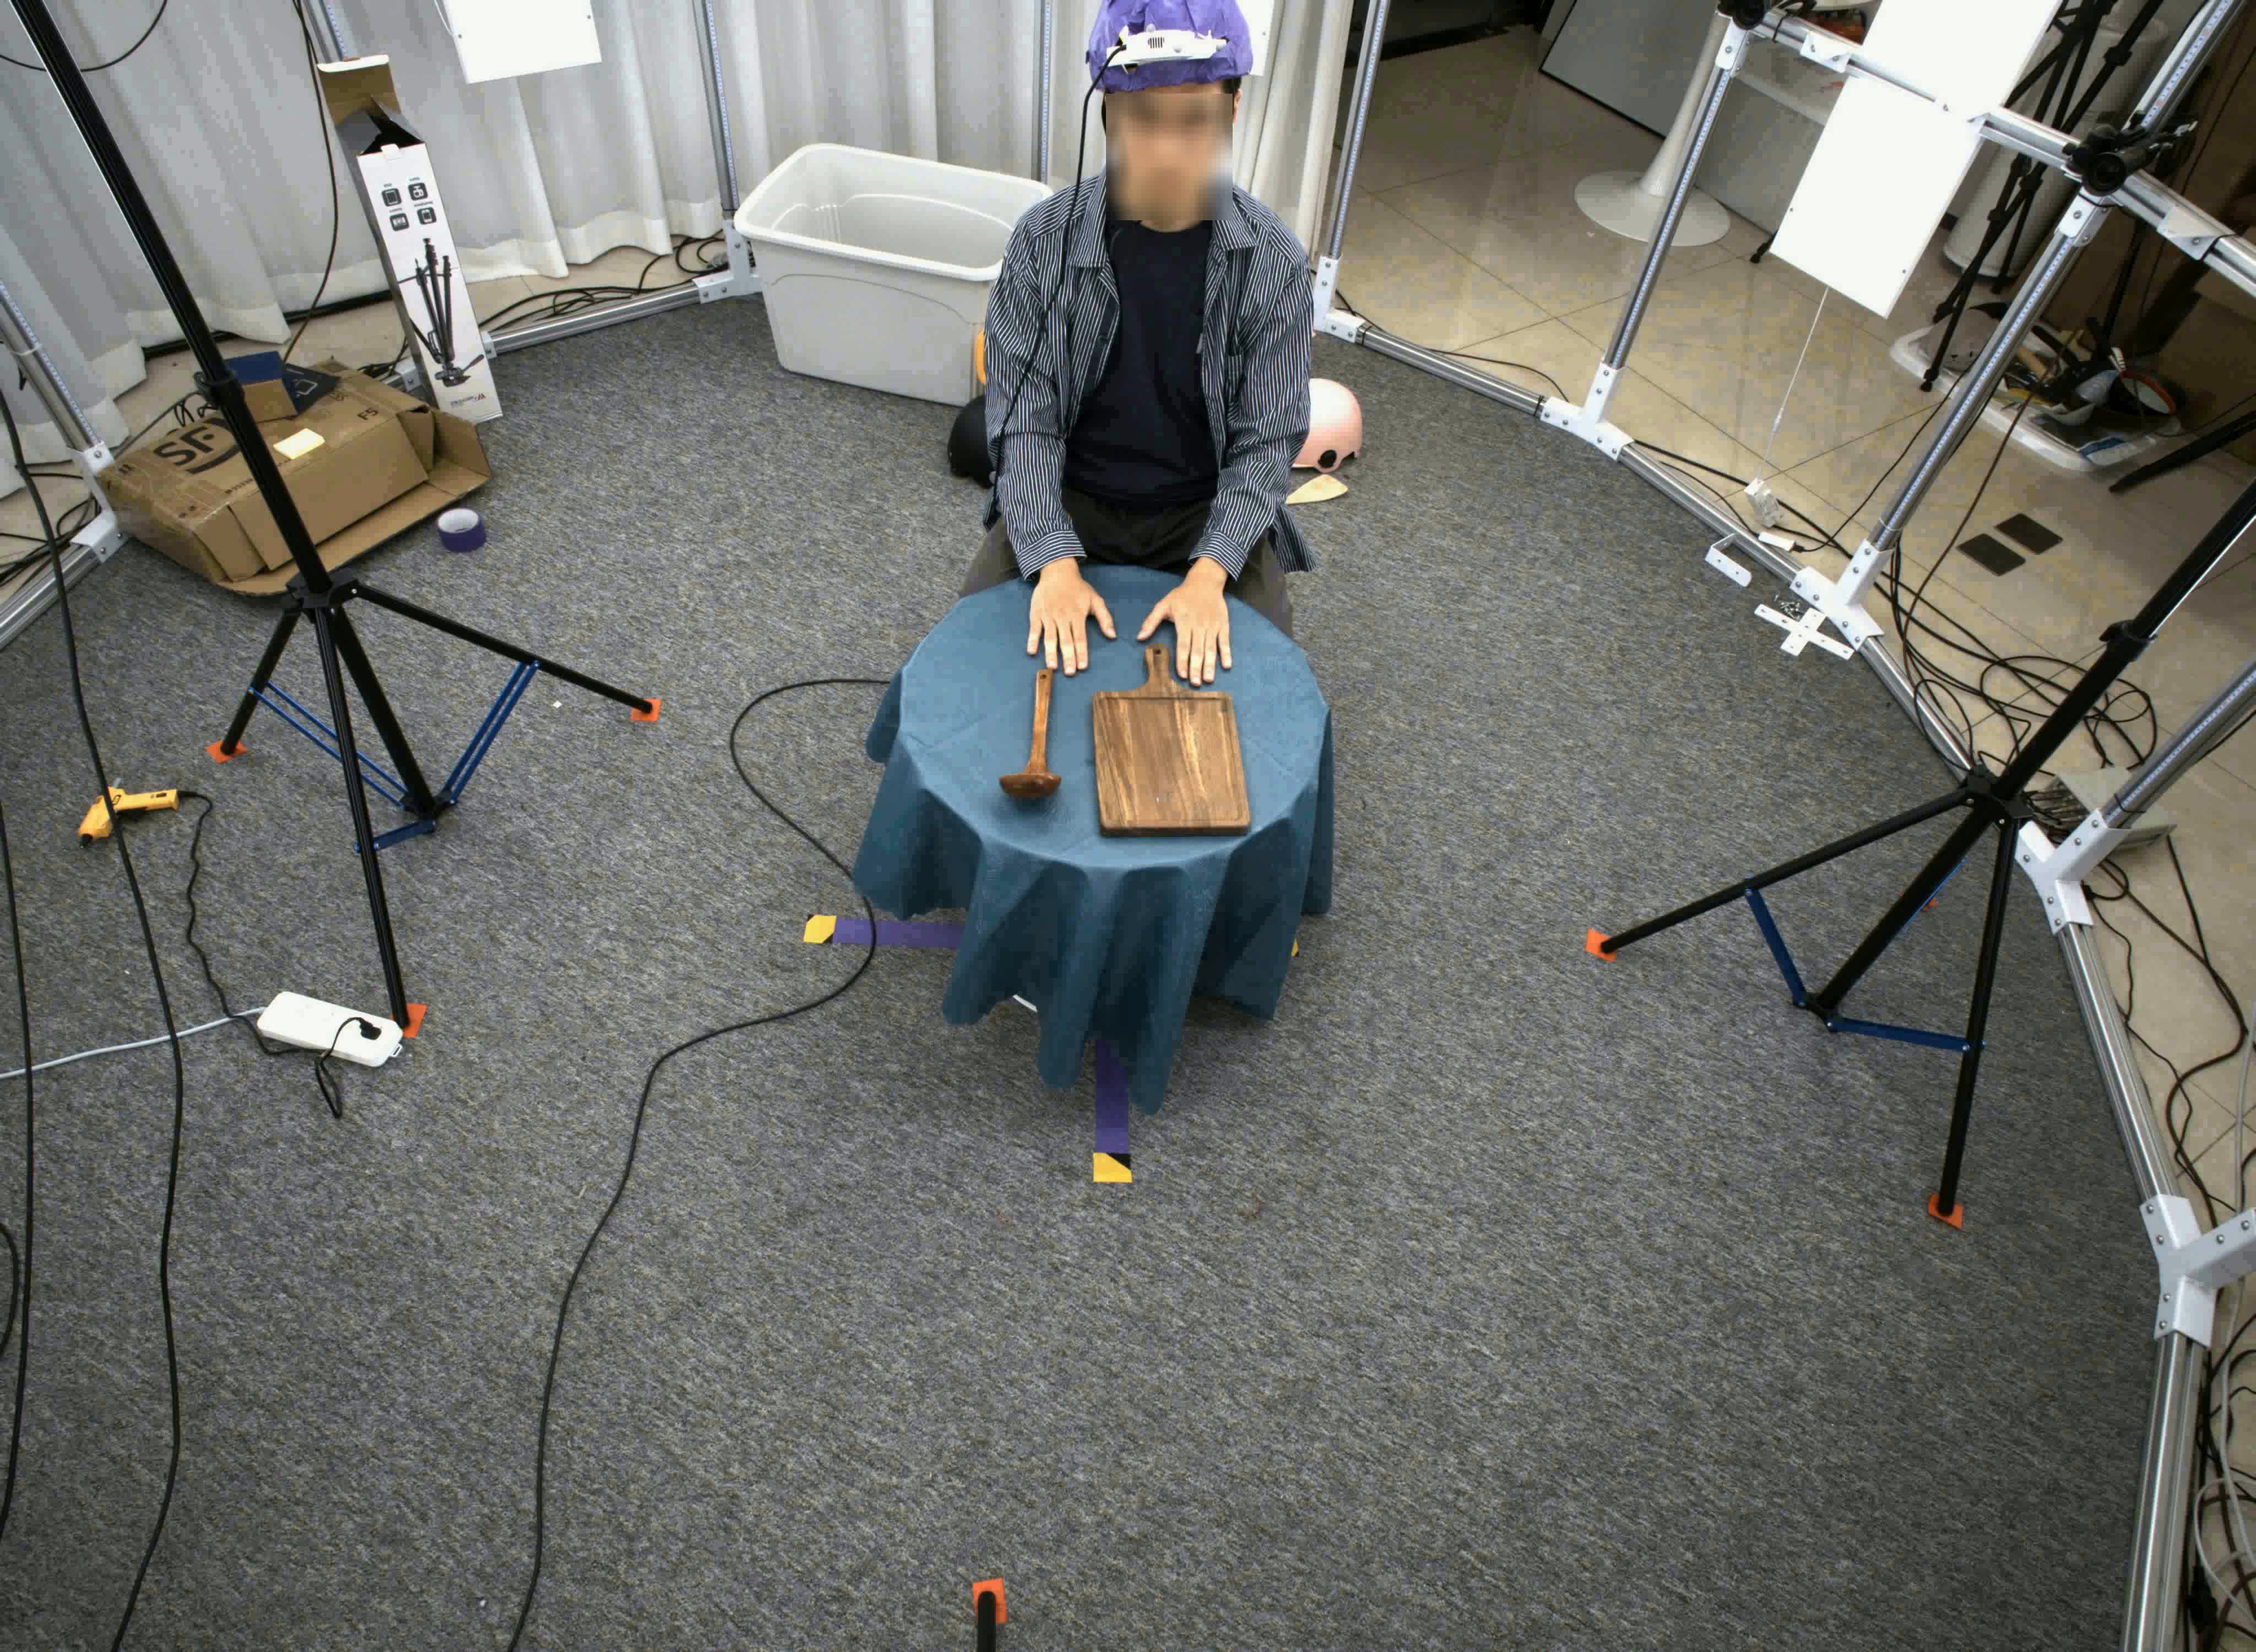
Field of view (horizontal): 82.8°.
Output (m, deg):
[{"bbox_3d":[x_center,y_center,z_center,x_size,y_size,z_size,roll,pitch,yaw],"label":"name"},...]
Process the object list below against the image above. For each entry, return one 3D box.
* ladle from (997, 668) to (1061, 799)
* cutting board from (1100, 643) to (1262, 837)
[{"bbox_3d":[-0.123,-0.139,1.719,0.082,0.075,0.281,2,49,2],"label":"ladle"},{"bbox_3d":[0.064,-0.126,1.760,0.201,0.022,0.361,0,48,-5],"label":"cutting board"}]
